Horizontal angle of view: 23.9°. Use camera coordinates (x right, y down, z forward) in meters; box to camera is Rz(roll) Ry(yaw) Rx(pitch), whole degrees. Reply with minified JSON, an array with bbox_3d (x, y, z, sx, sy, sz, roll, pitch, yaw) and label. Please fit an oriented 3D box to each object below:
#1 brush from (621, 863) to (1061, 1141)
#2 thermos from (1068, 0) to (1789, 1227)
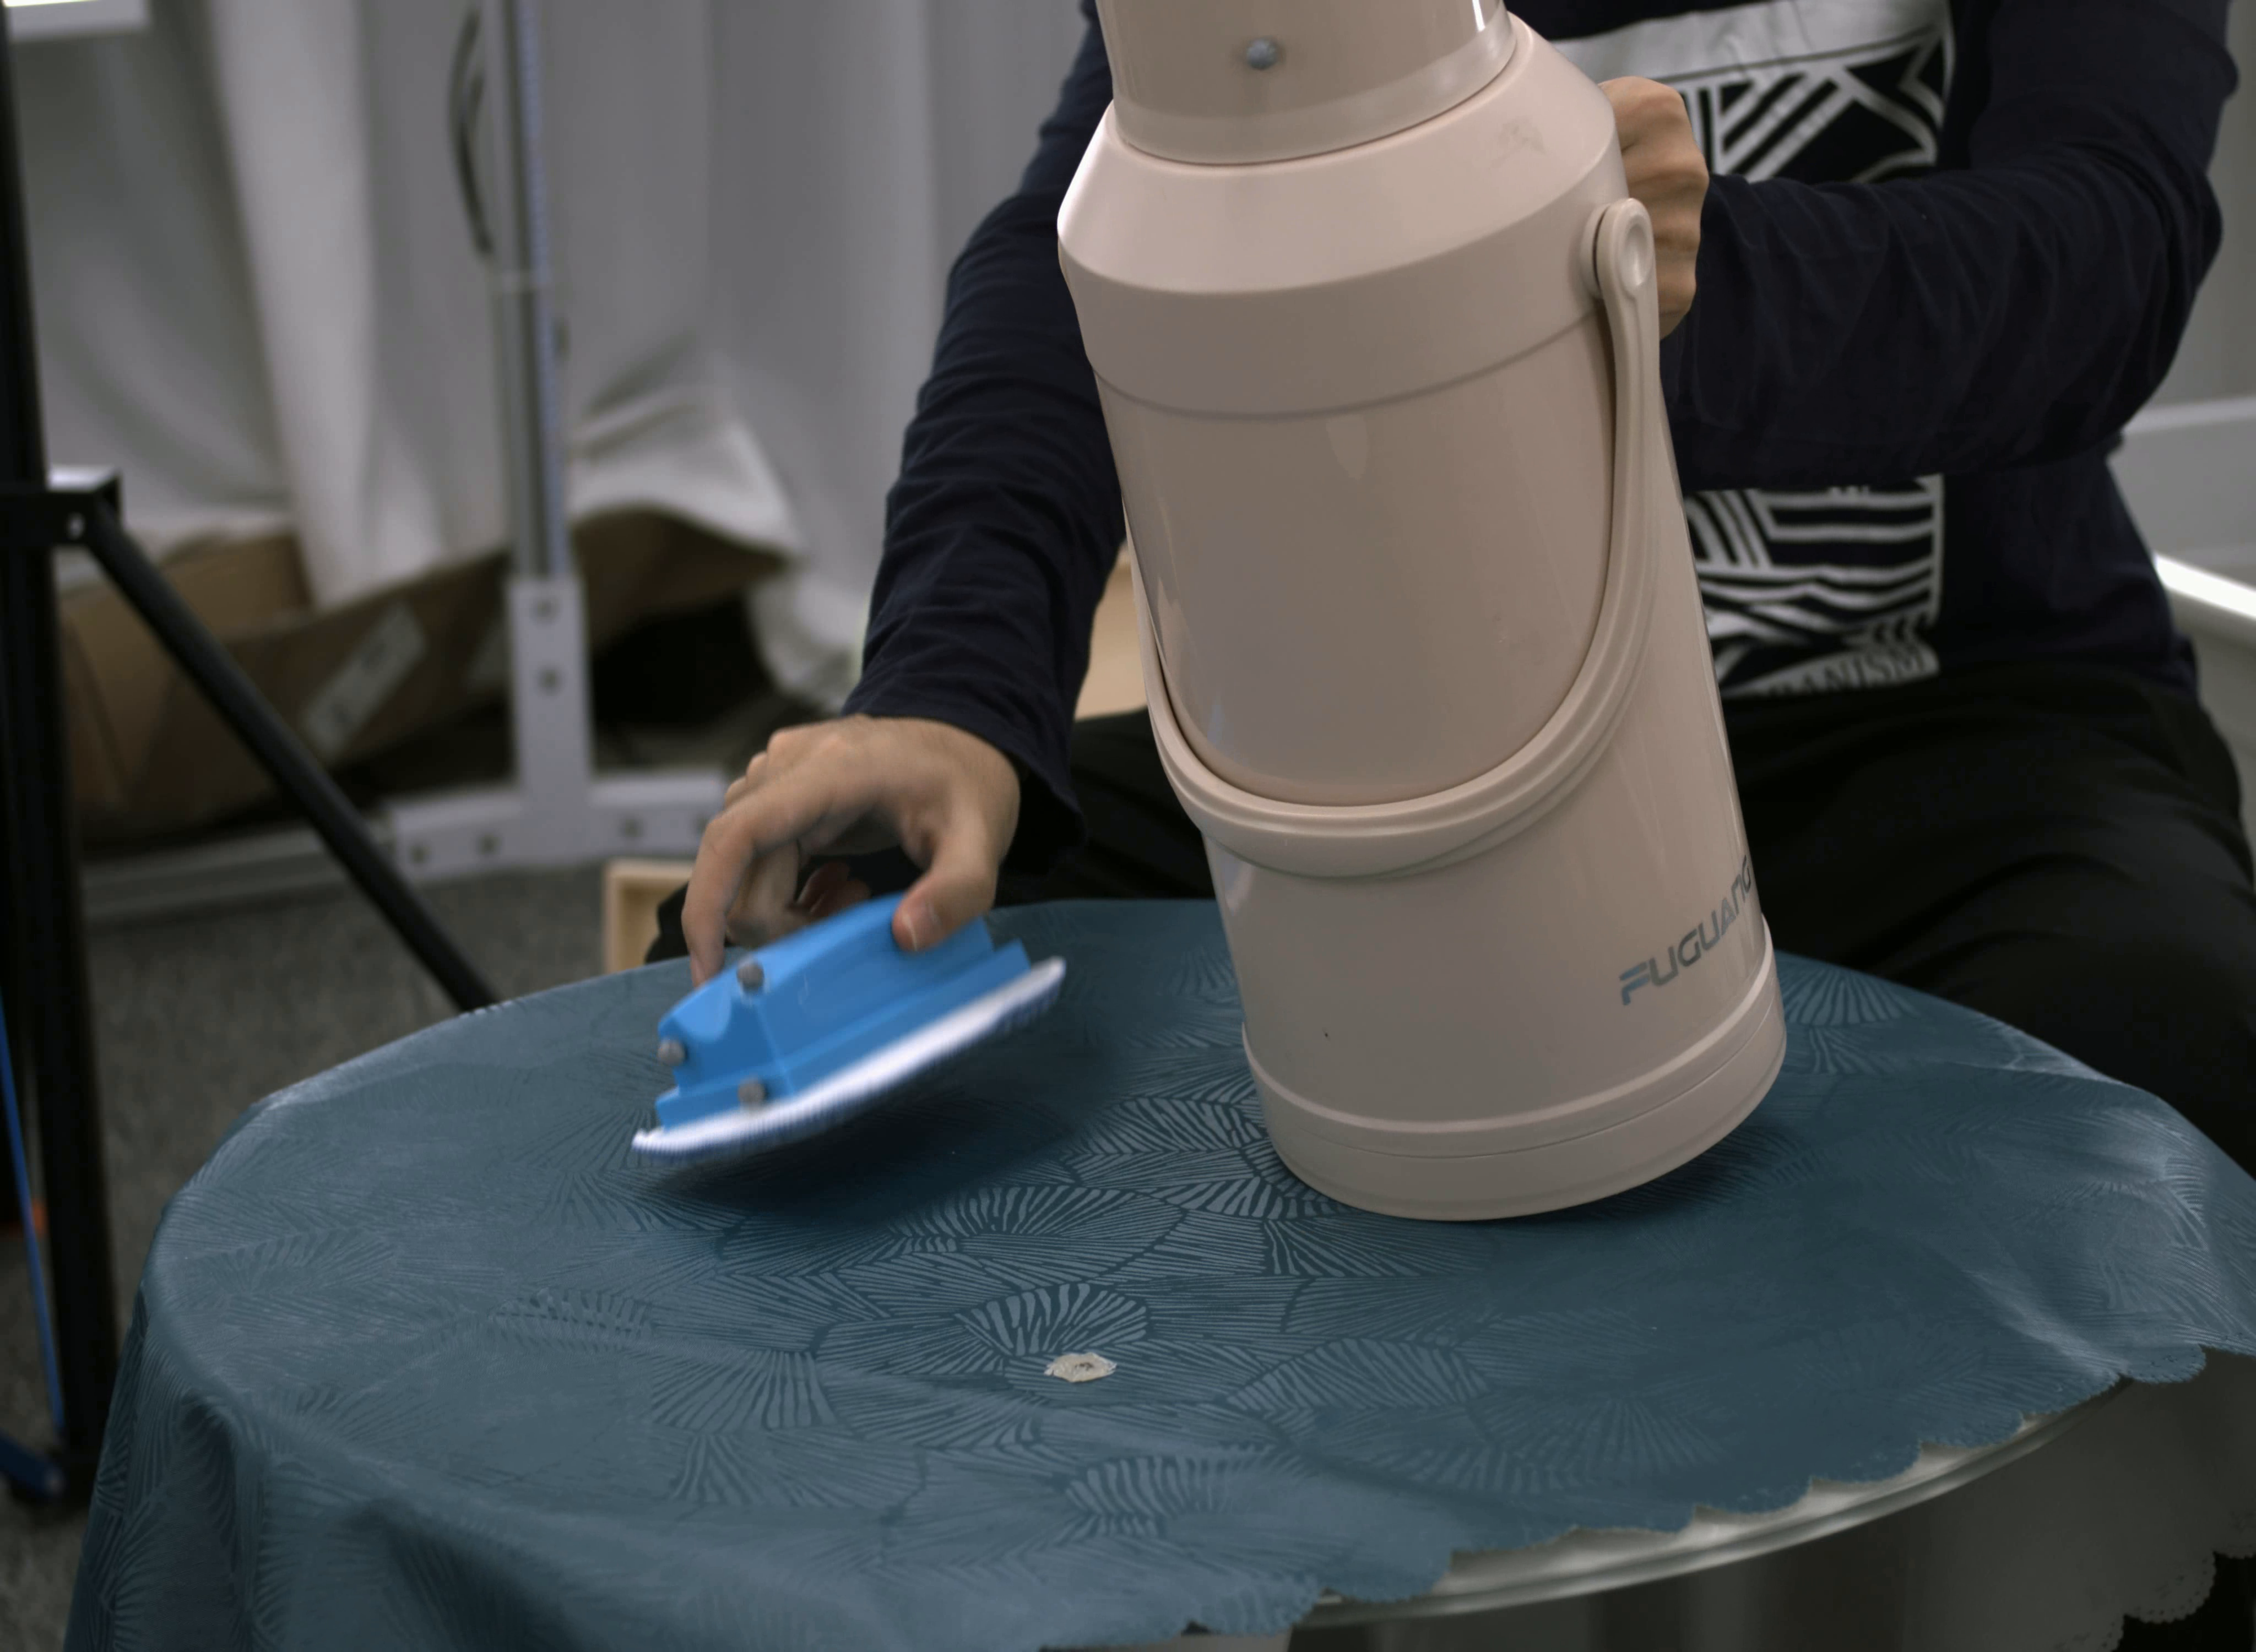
[{"bbox_3d":[-0.089,0.050,1.613,0.085,0.056,0.141,-9,15,40],"label":"brush"},{"bbox_3d":[0.087,-0.103,1.503,0.178,0.403,0.205,2,29,32],"label":"thermos"}]
